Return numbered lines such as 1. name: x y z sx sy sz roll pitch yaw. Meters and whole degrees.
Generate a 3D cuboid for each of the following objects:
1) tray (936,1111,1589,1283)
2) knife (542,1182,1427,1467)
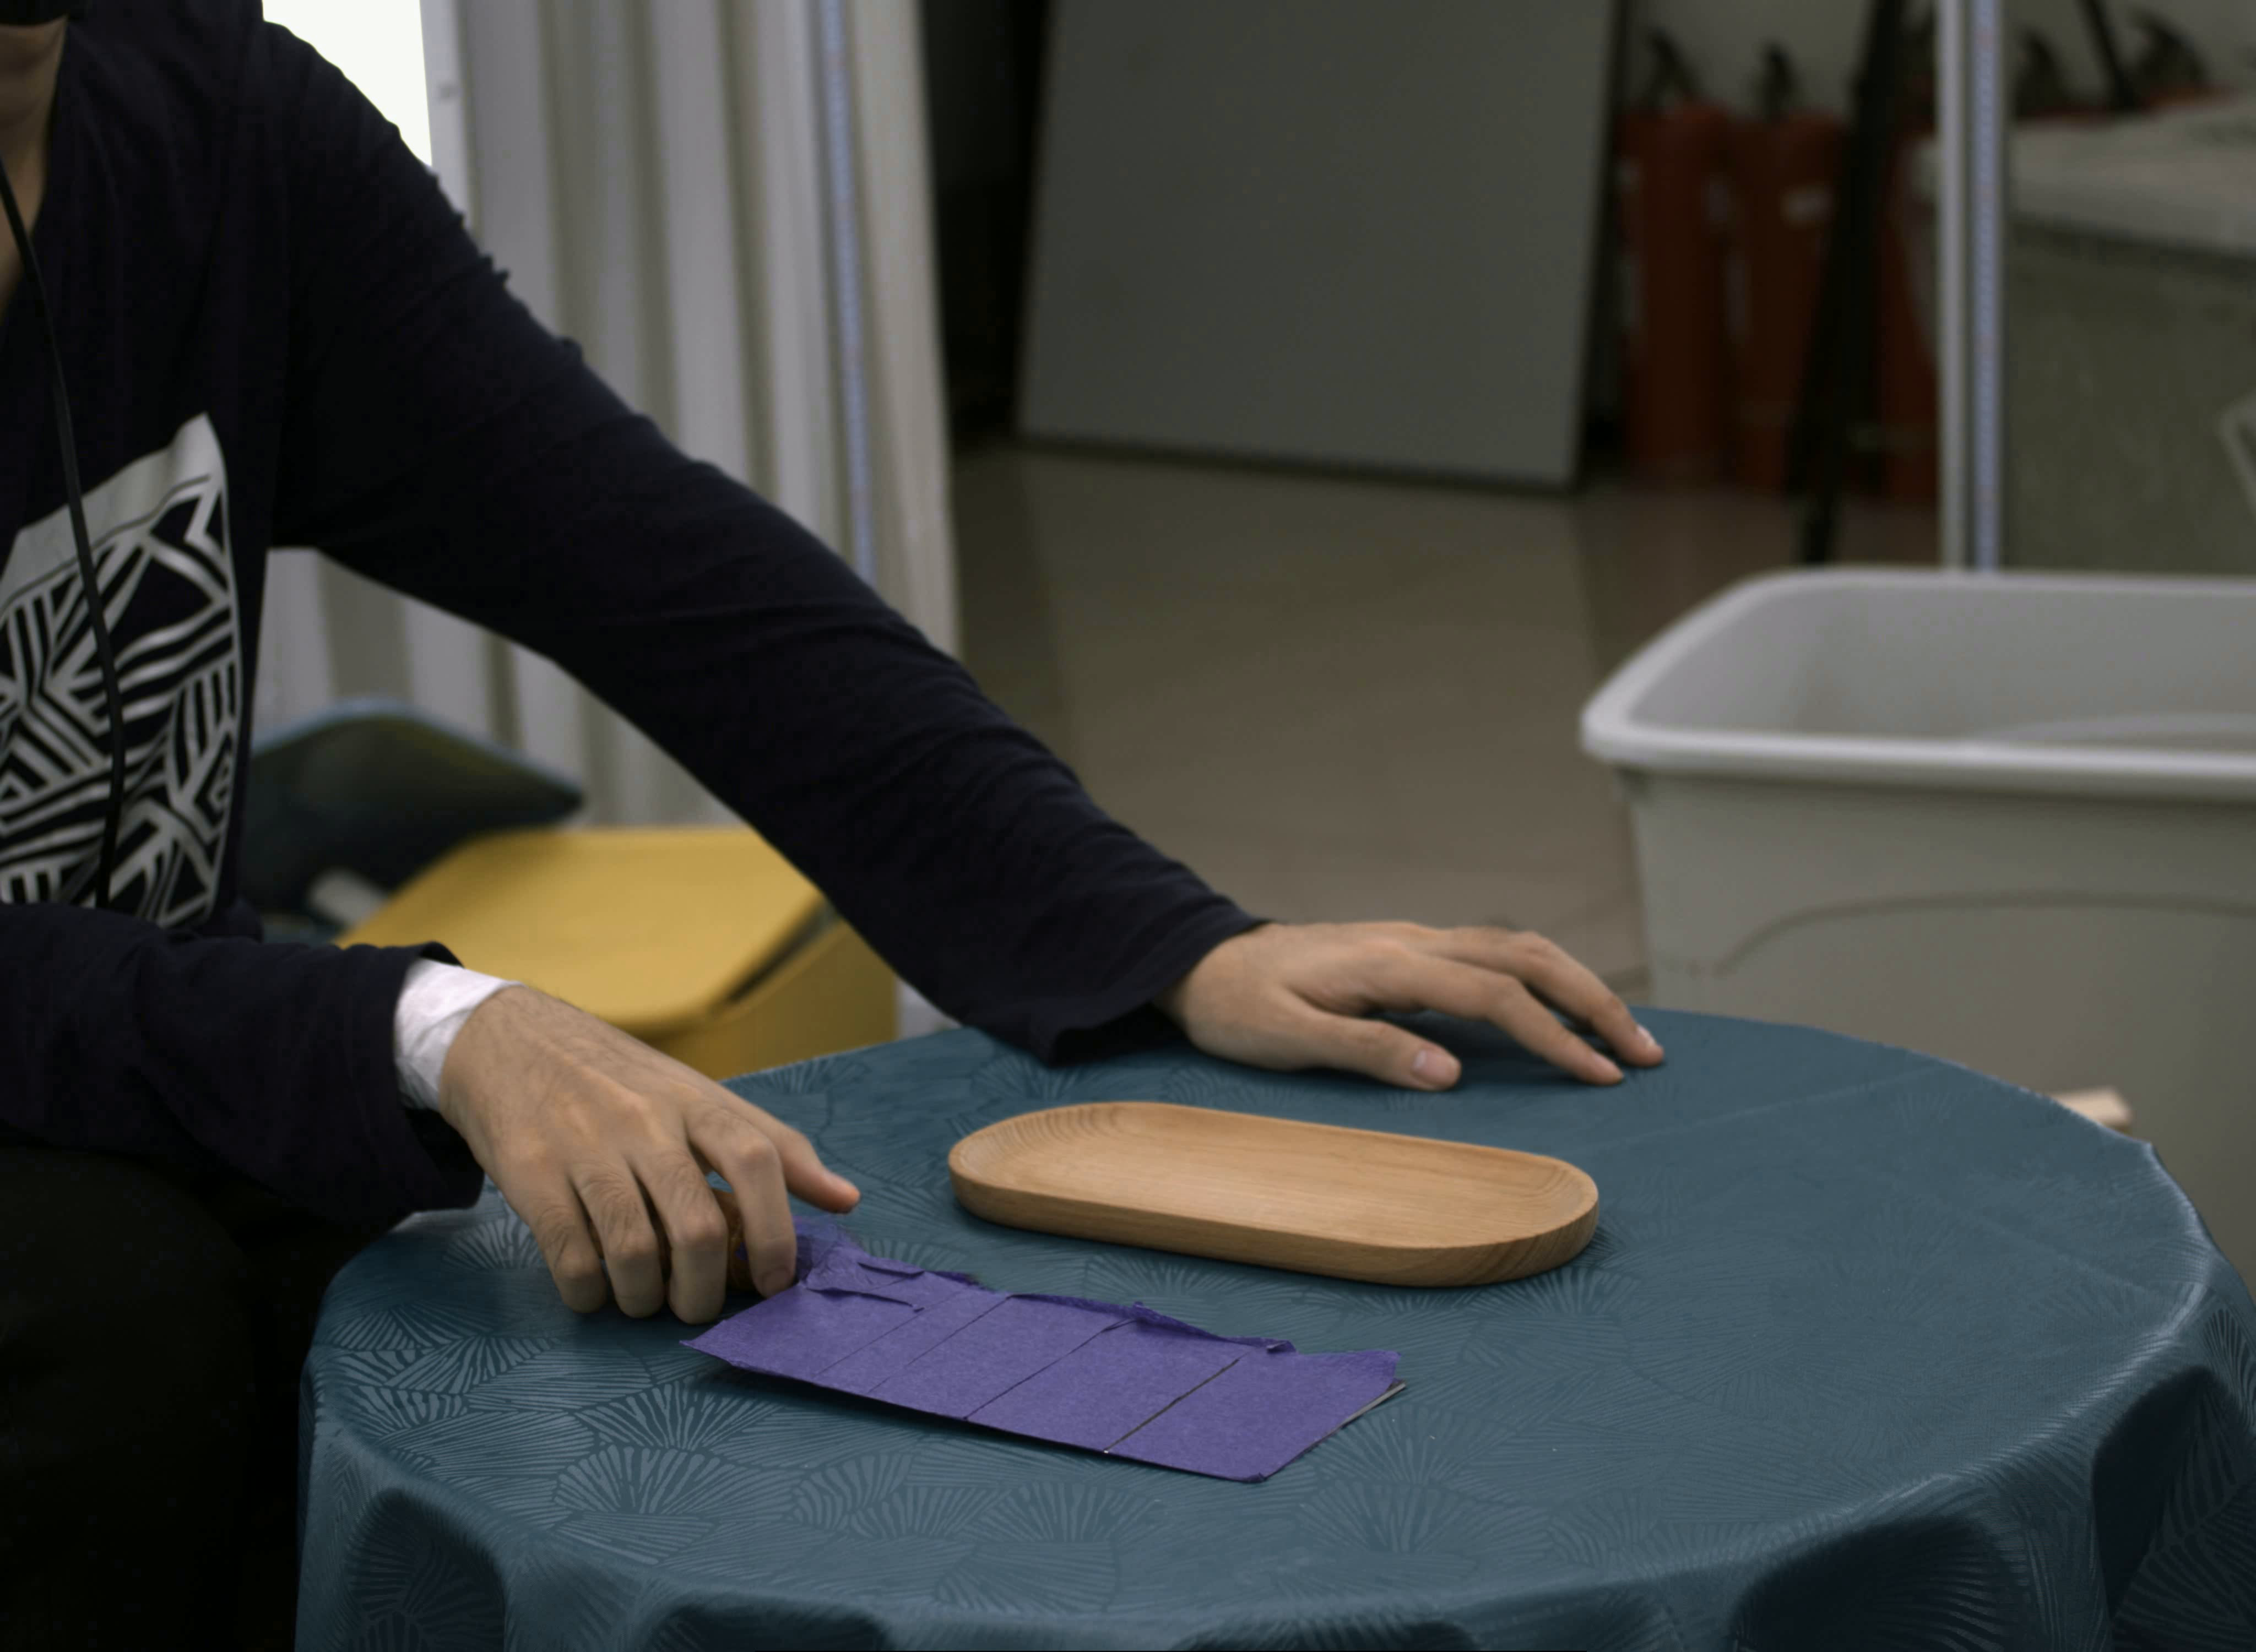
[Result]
1. tray: 0.042 0.119 1.738 0.232 0.020 0.100 3 14 34
2. knife: -0.066 0.149 1.624 0.317 0.032 0.102 6 16 34
